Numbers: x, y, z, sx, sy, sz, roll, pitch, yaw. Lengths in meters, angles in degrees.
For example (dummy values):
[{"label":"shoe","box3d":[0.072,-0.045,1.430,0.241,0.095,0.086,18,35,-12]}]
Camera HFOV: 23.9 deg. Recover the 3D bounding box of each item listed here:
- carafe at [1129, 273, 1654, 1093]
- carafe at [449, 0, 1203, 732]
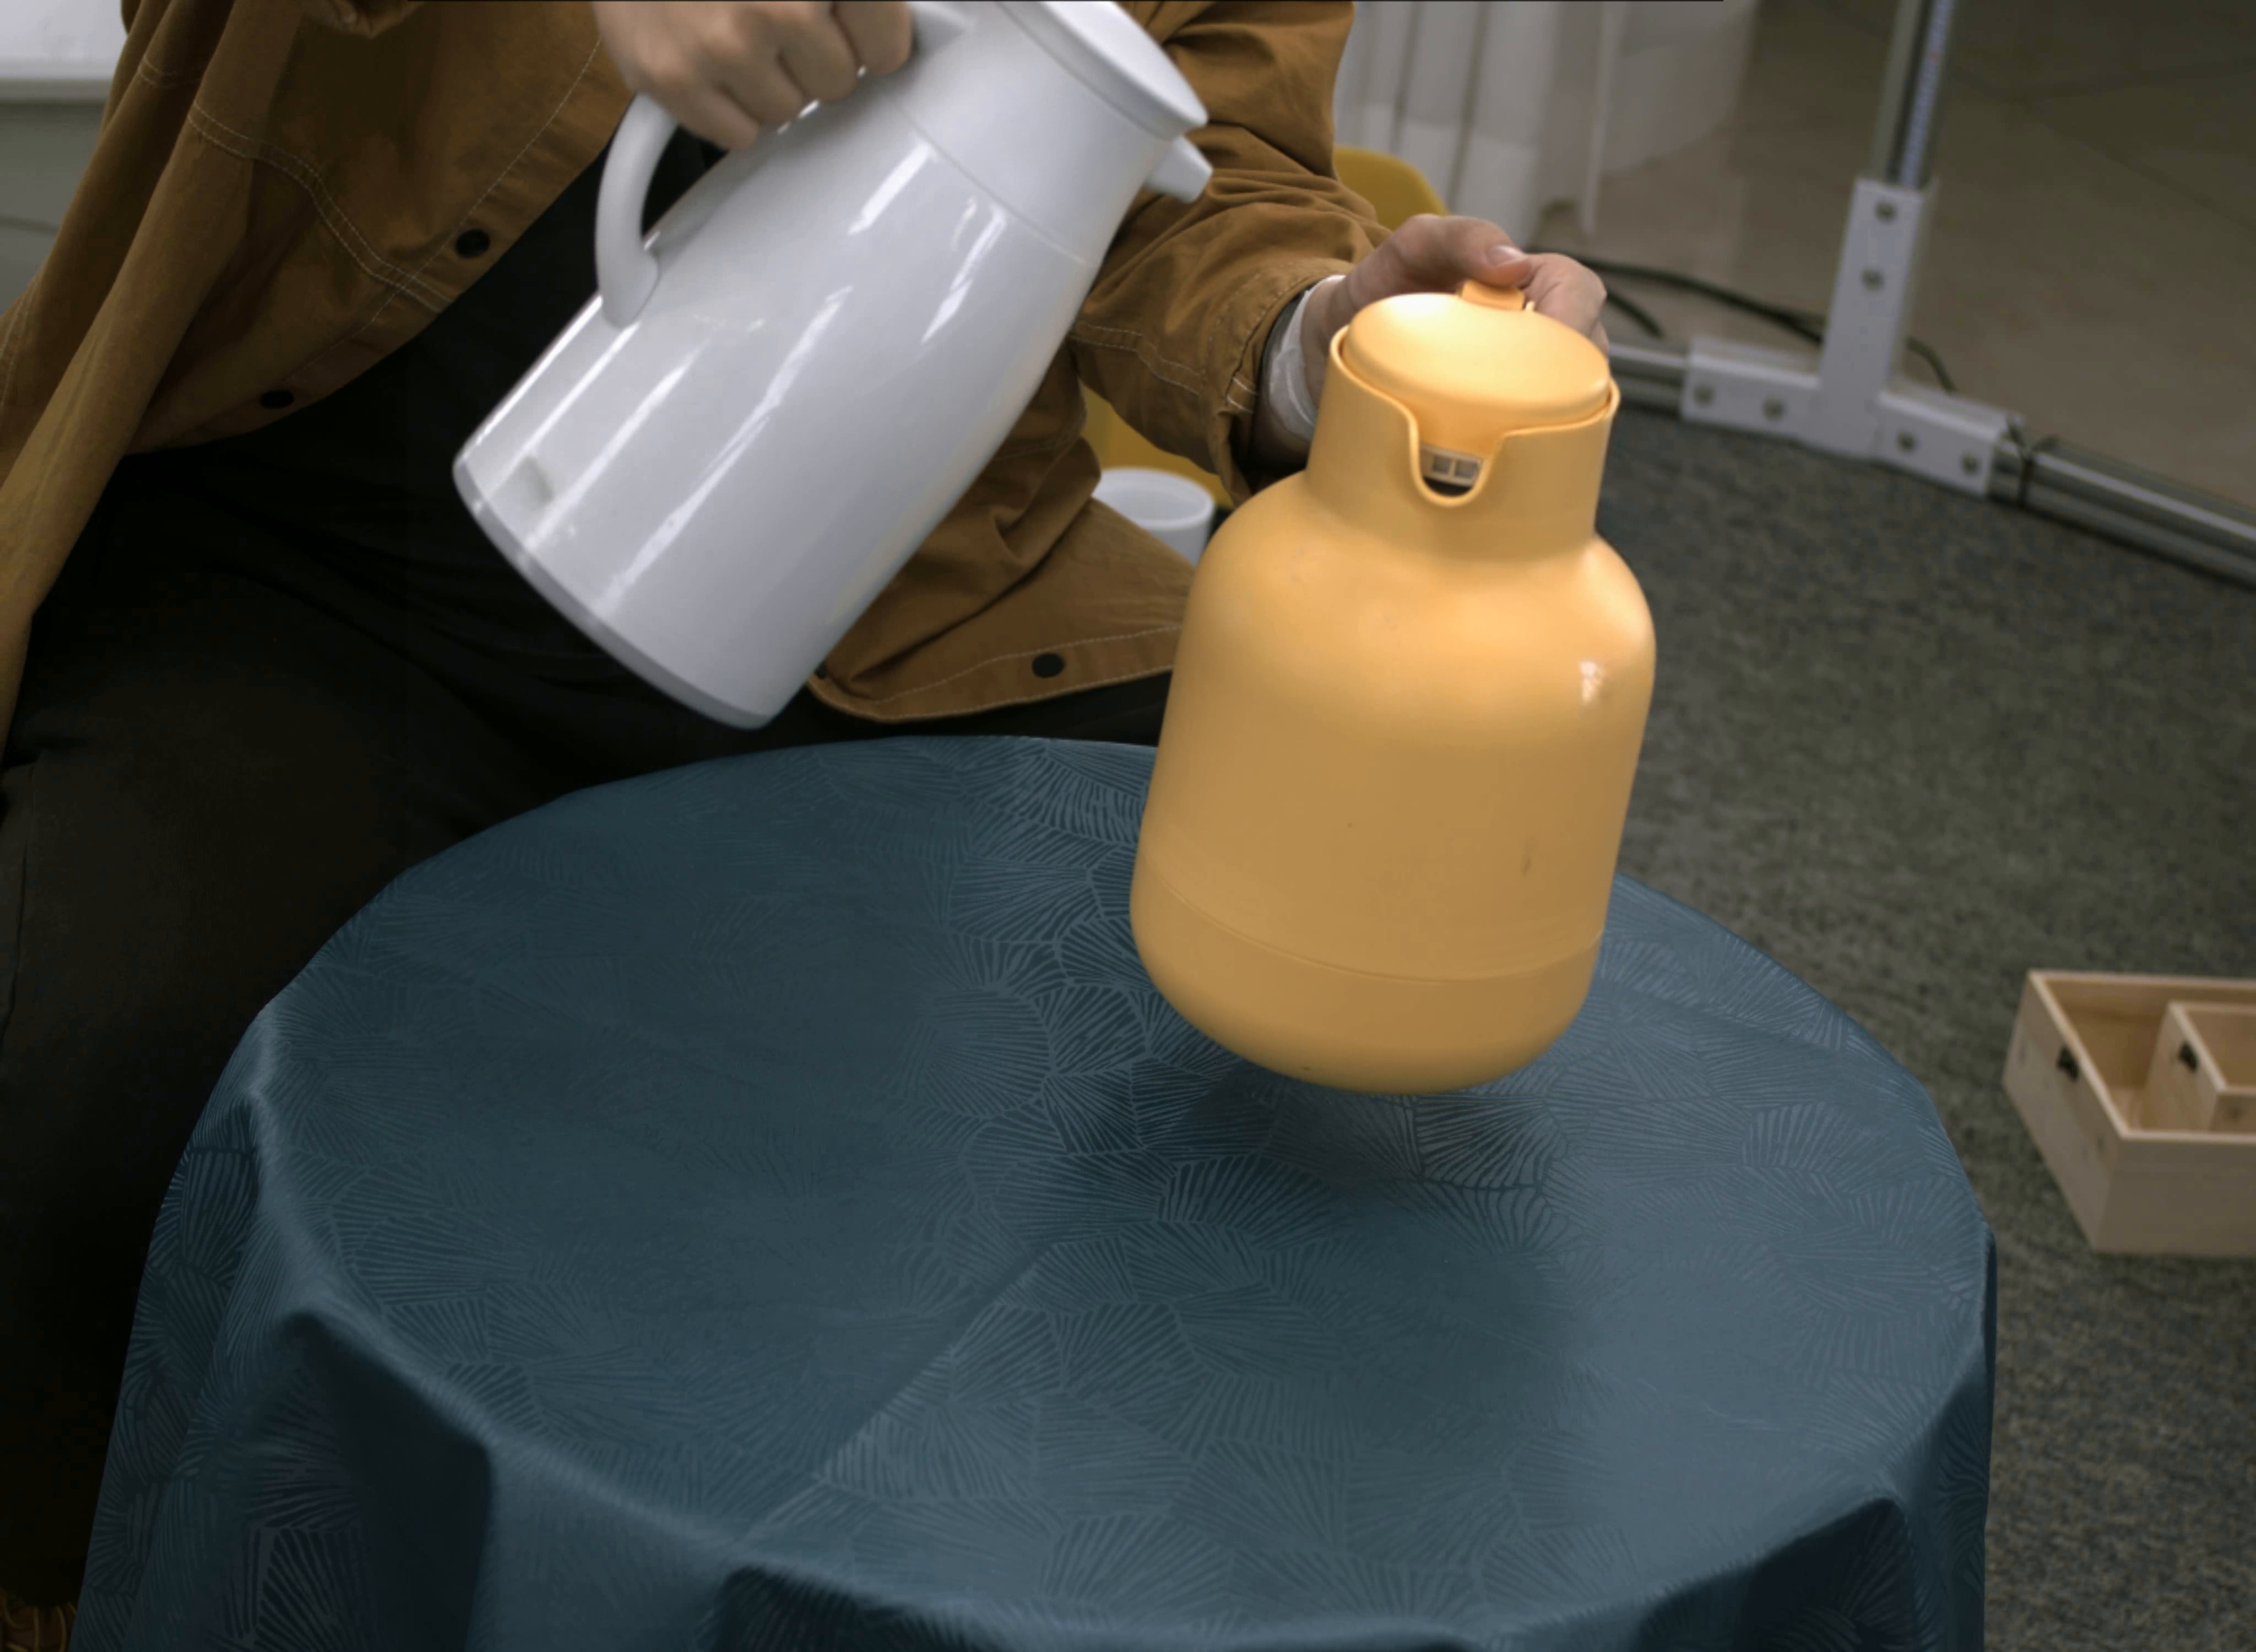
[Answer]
[{"label":"carafe","box3d":[0.100,-0.057,1.815,0.163,0.259,0.203,14,27,5]},{"label":"carafe","box3d":[-0.100,-0.172,1.673,0.166,0.248,0.134,33,15,-33]}]
